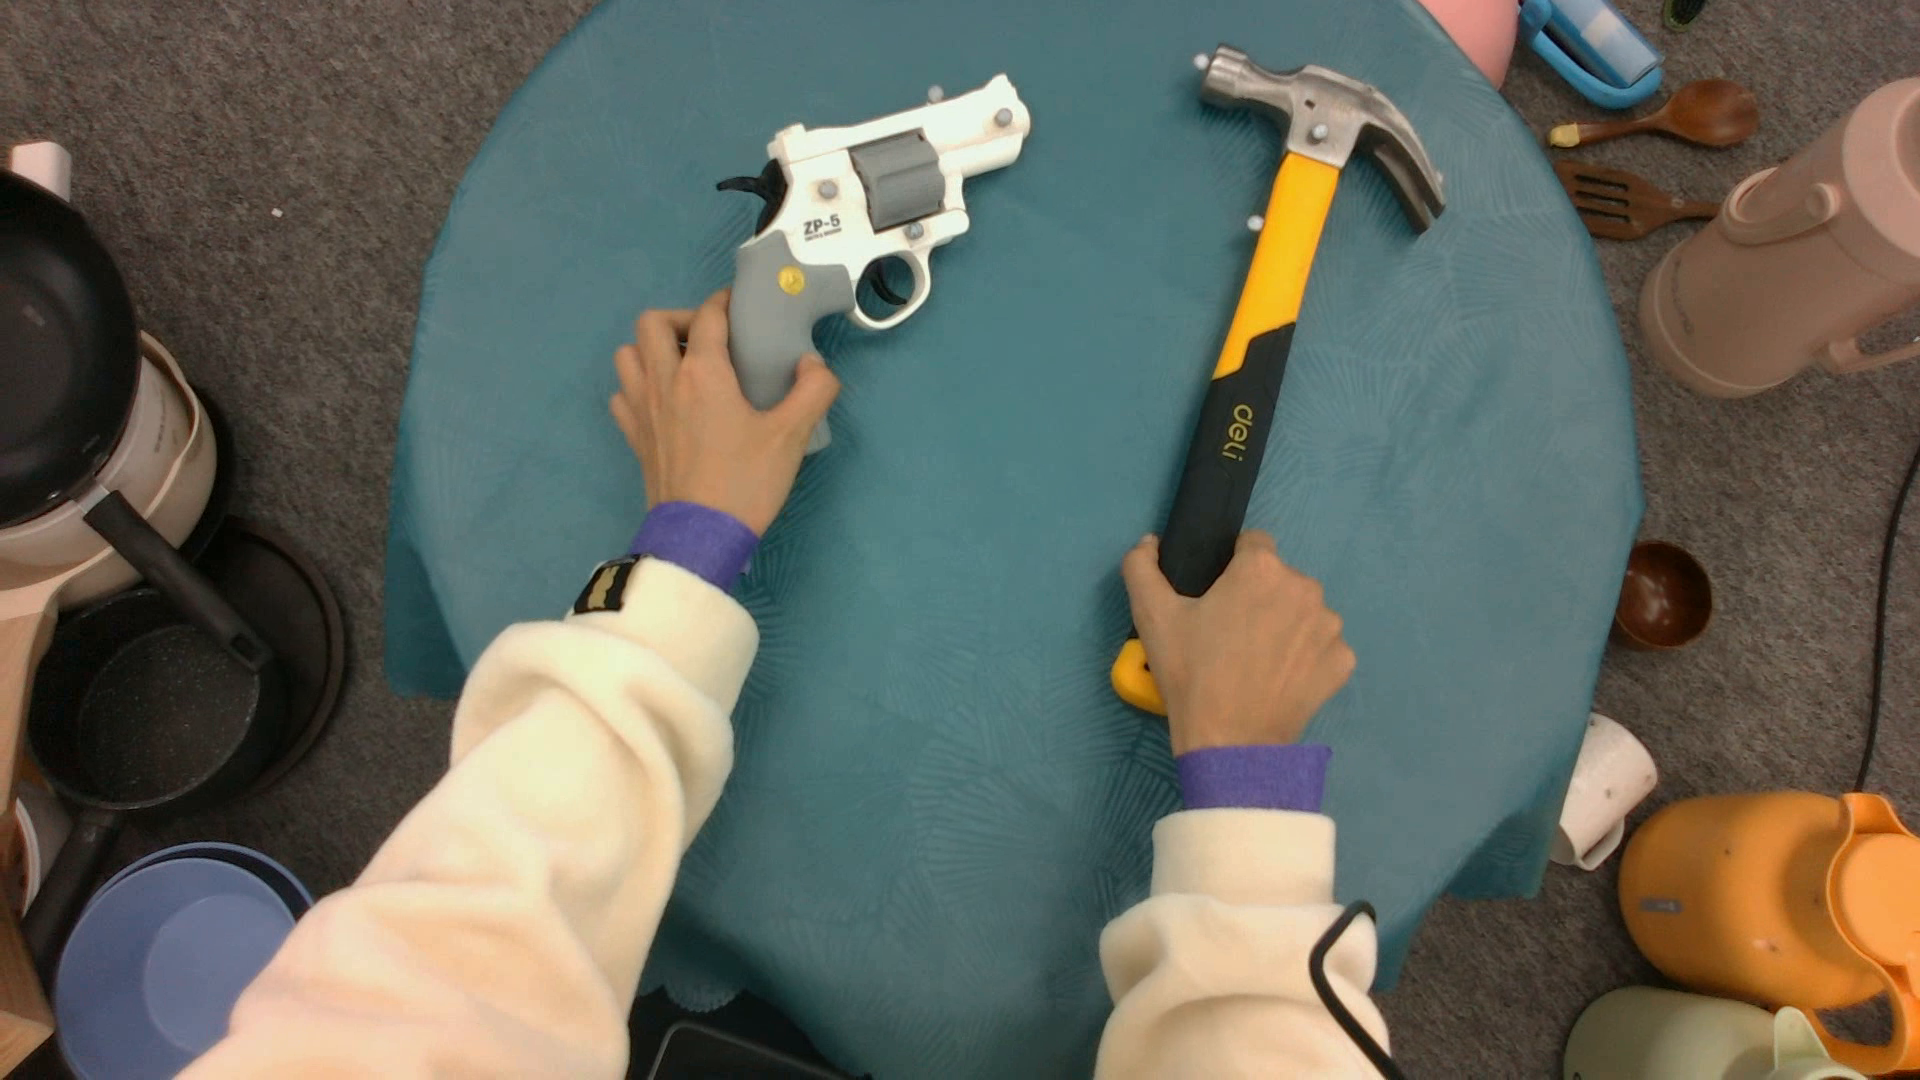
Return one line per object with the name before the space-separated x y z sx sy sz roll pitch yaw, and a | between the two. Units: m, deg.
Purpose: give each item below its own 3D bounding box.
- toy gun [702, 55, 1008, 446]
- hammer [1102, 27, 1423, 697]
toy gun | -0.047 -0.141 0.659 0.210 0.039 0.141 -26 97 -24
hammer | 0.132 -0.087 0.664 0.131 0.032 0.339 19 74 -2
